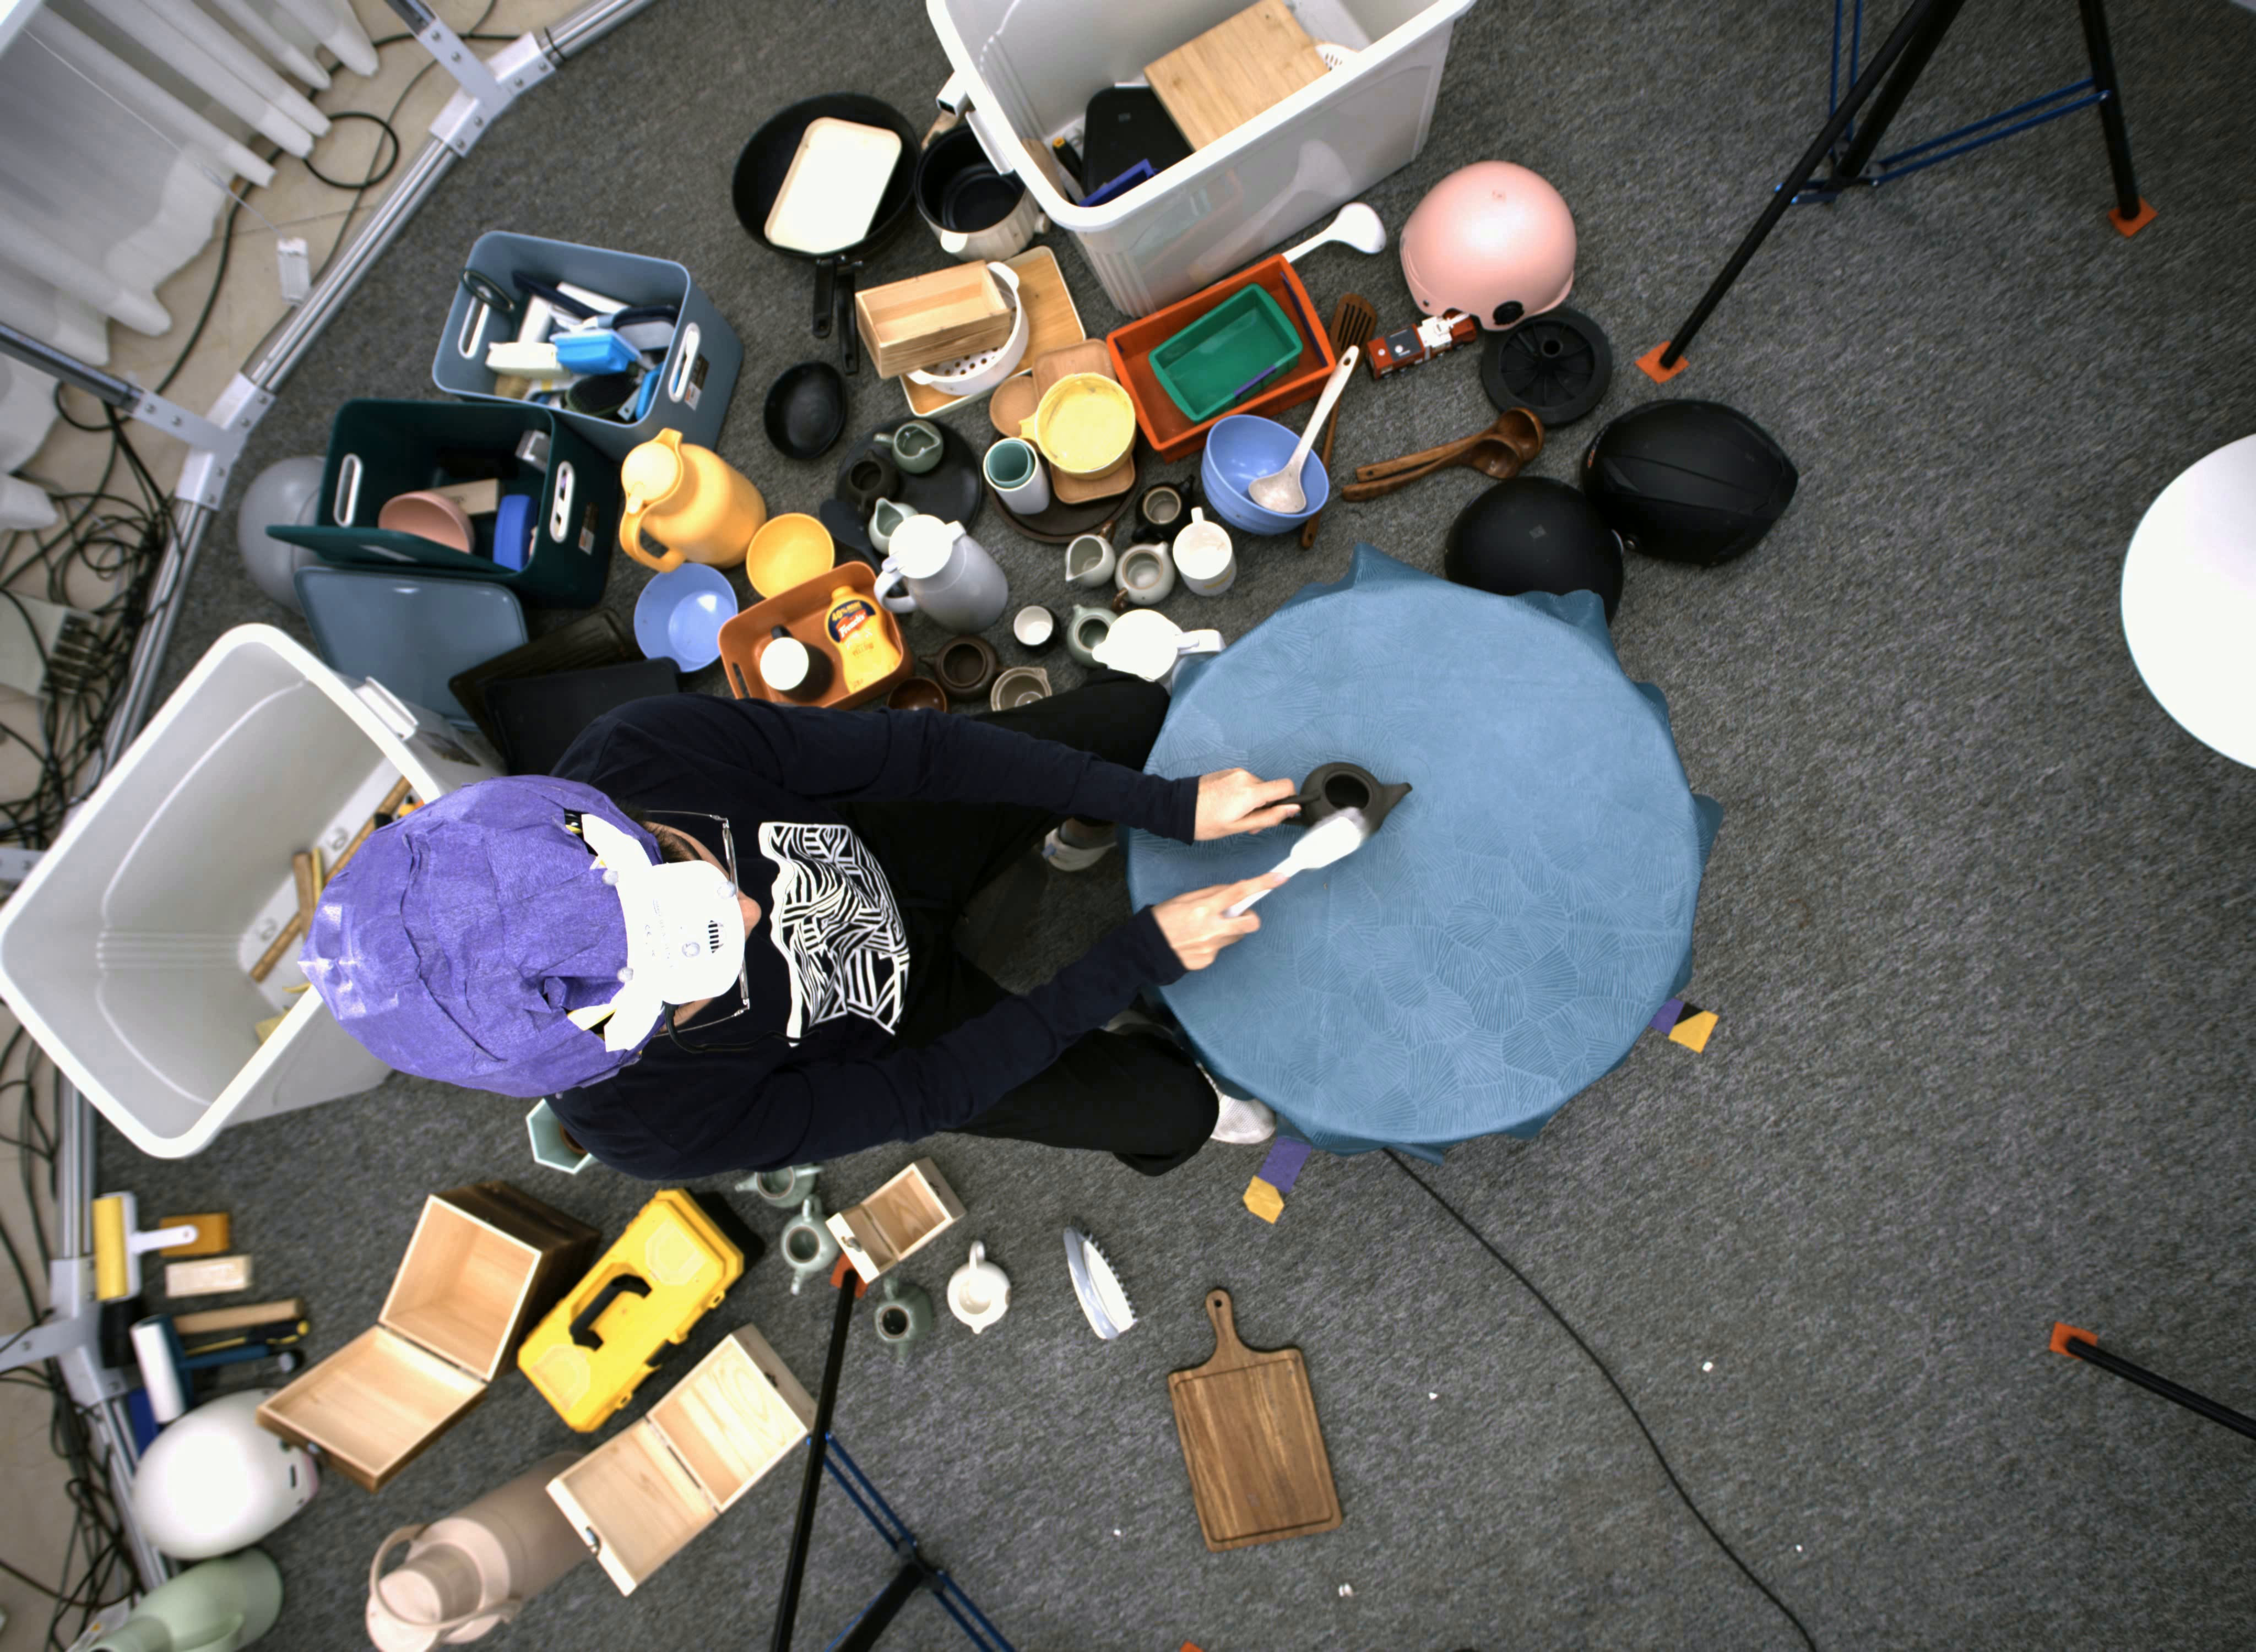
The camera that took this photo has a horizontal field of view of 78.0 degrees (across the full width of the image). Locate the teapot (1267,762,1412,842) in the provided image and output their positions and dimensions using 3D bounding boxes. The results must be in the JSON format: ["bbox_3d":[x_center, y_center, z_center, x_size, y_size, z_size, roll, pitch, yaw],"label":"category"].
[{"bbox_3d":[0.218,-0.023,1.433,0.154,0.066,0.090,-7,61,-10],"label":"teapot"}]

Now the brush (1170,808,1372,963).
[{"bbox_3d":[0.142,0.060,1.410,0.247,0.049,0.034,-36,106,20],"label":"brush"}]
